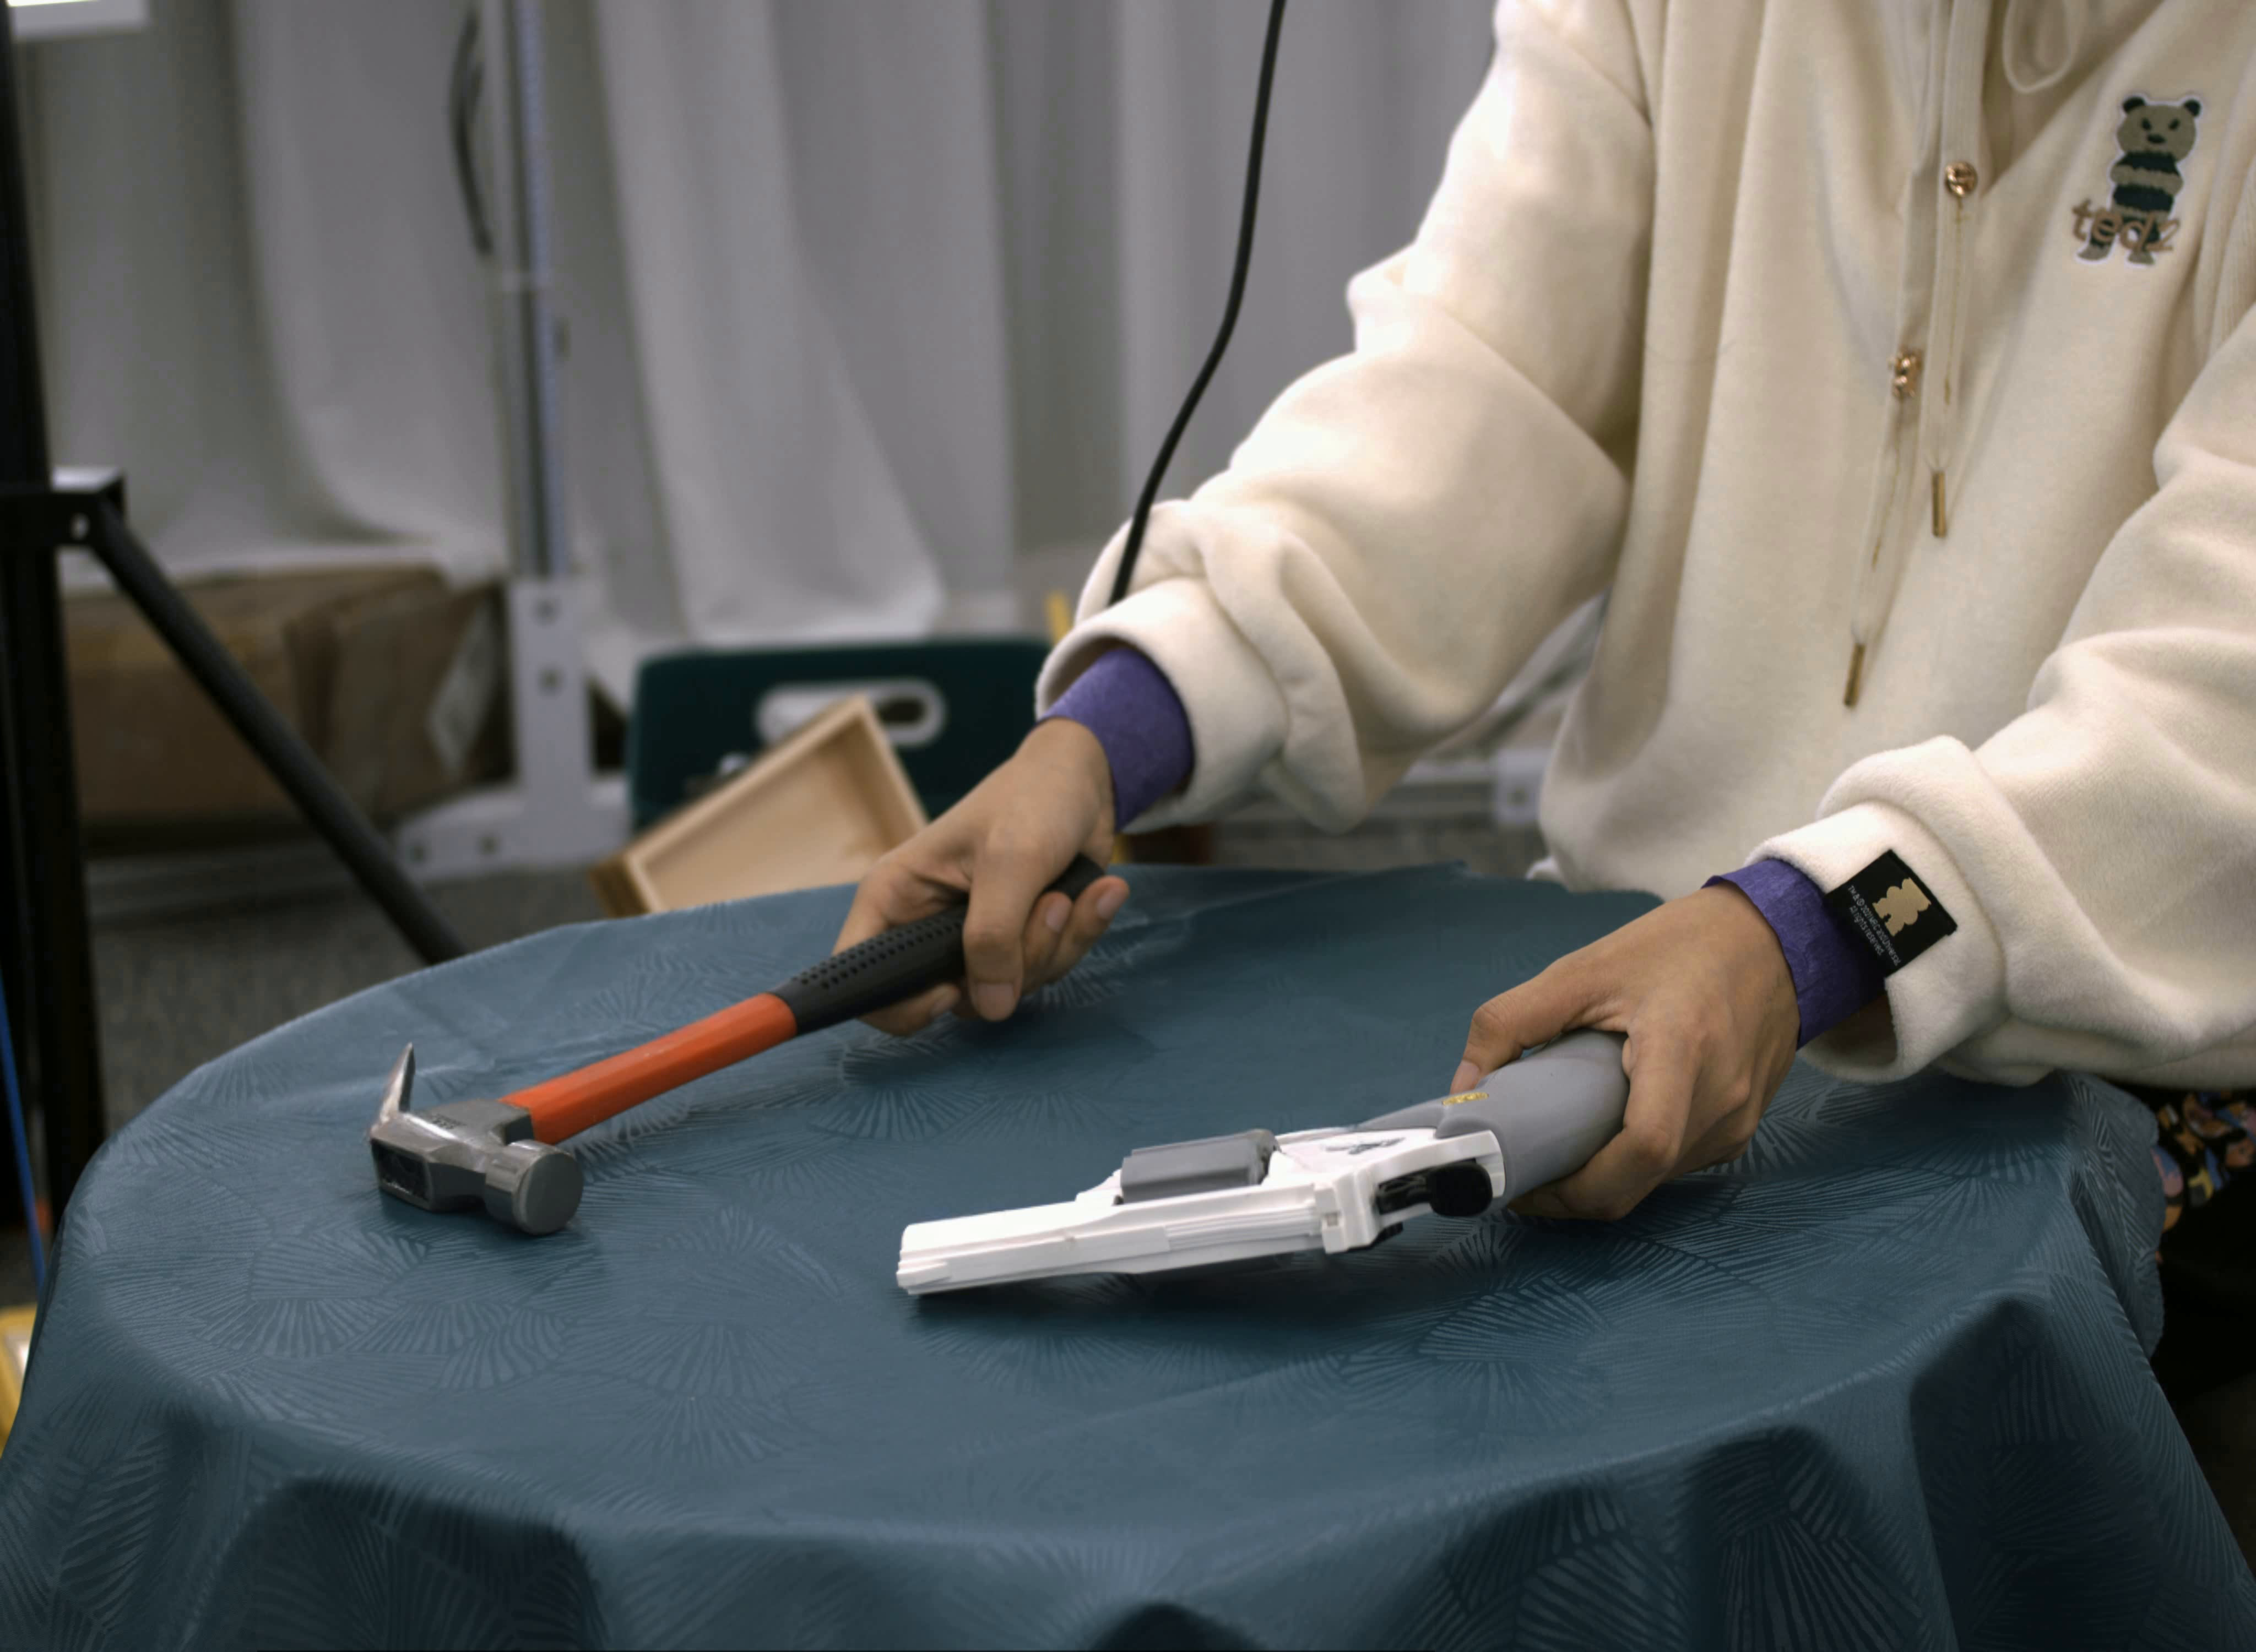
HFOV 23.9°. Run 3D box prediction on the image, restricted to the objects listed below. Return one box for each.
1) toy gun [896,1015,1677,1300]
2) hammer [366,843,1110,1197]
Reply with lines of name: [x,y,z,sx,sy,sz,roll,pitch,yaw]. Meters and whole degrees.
toy gun: [0.047,0.096,1.497,0.210,0.039,0.140,-9,9,14]
hammer: [-0.115,0.057,1.657,0.271,0.026,0.113,-22,15,-37]
